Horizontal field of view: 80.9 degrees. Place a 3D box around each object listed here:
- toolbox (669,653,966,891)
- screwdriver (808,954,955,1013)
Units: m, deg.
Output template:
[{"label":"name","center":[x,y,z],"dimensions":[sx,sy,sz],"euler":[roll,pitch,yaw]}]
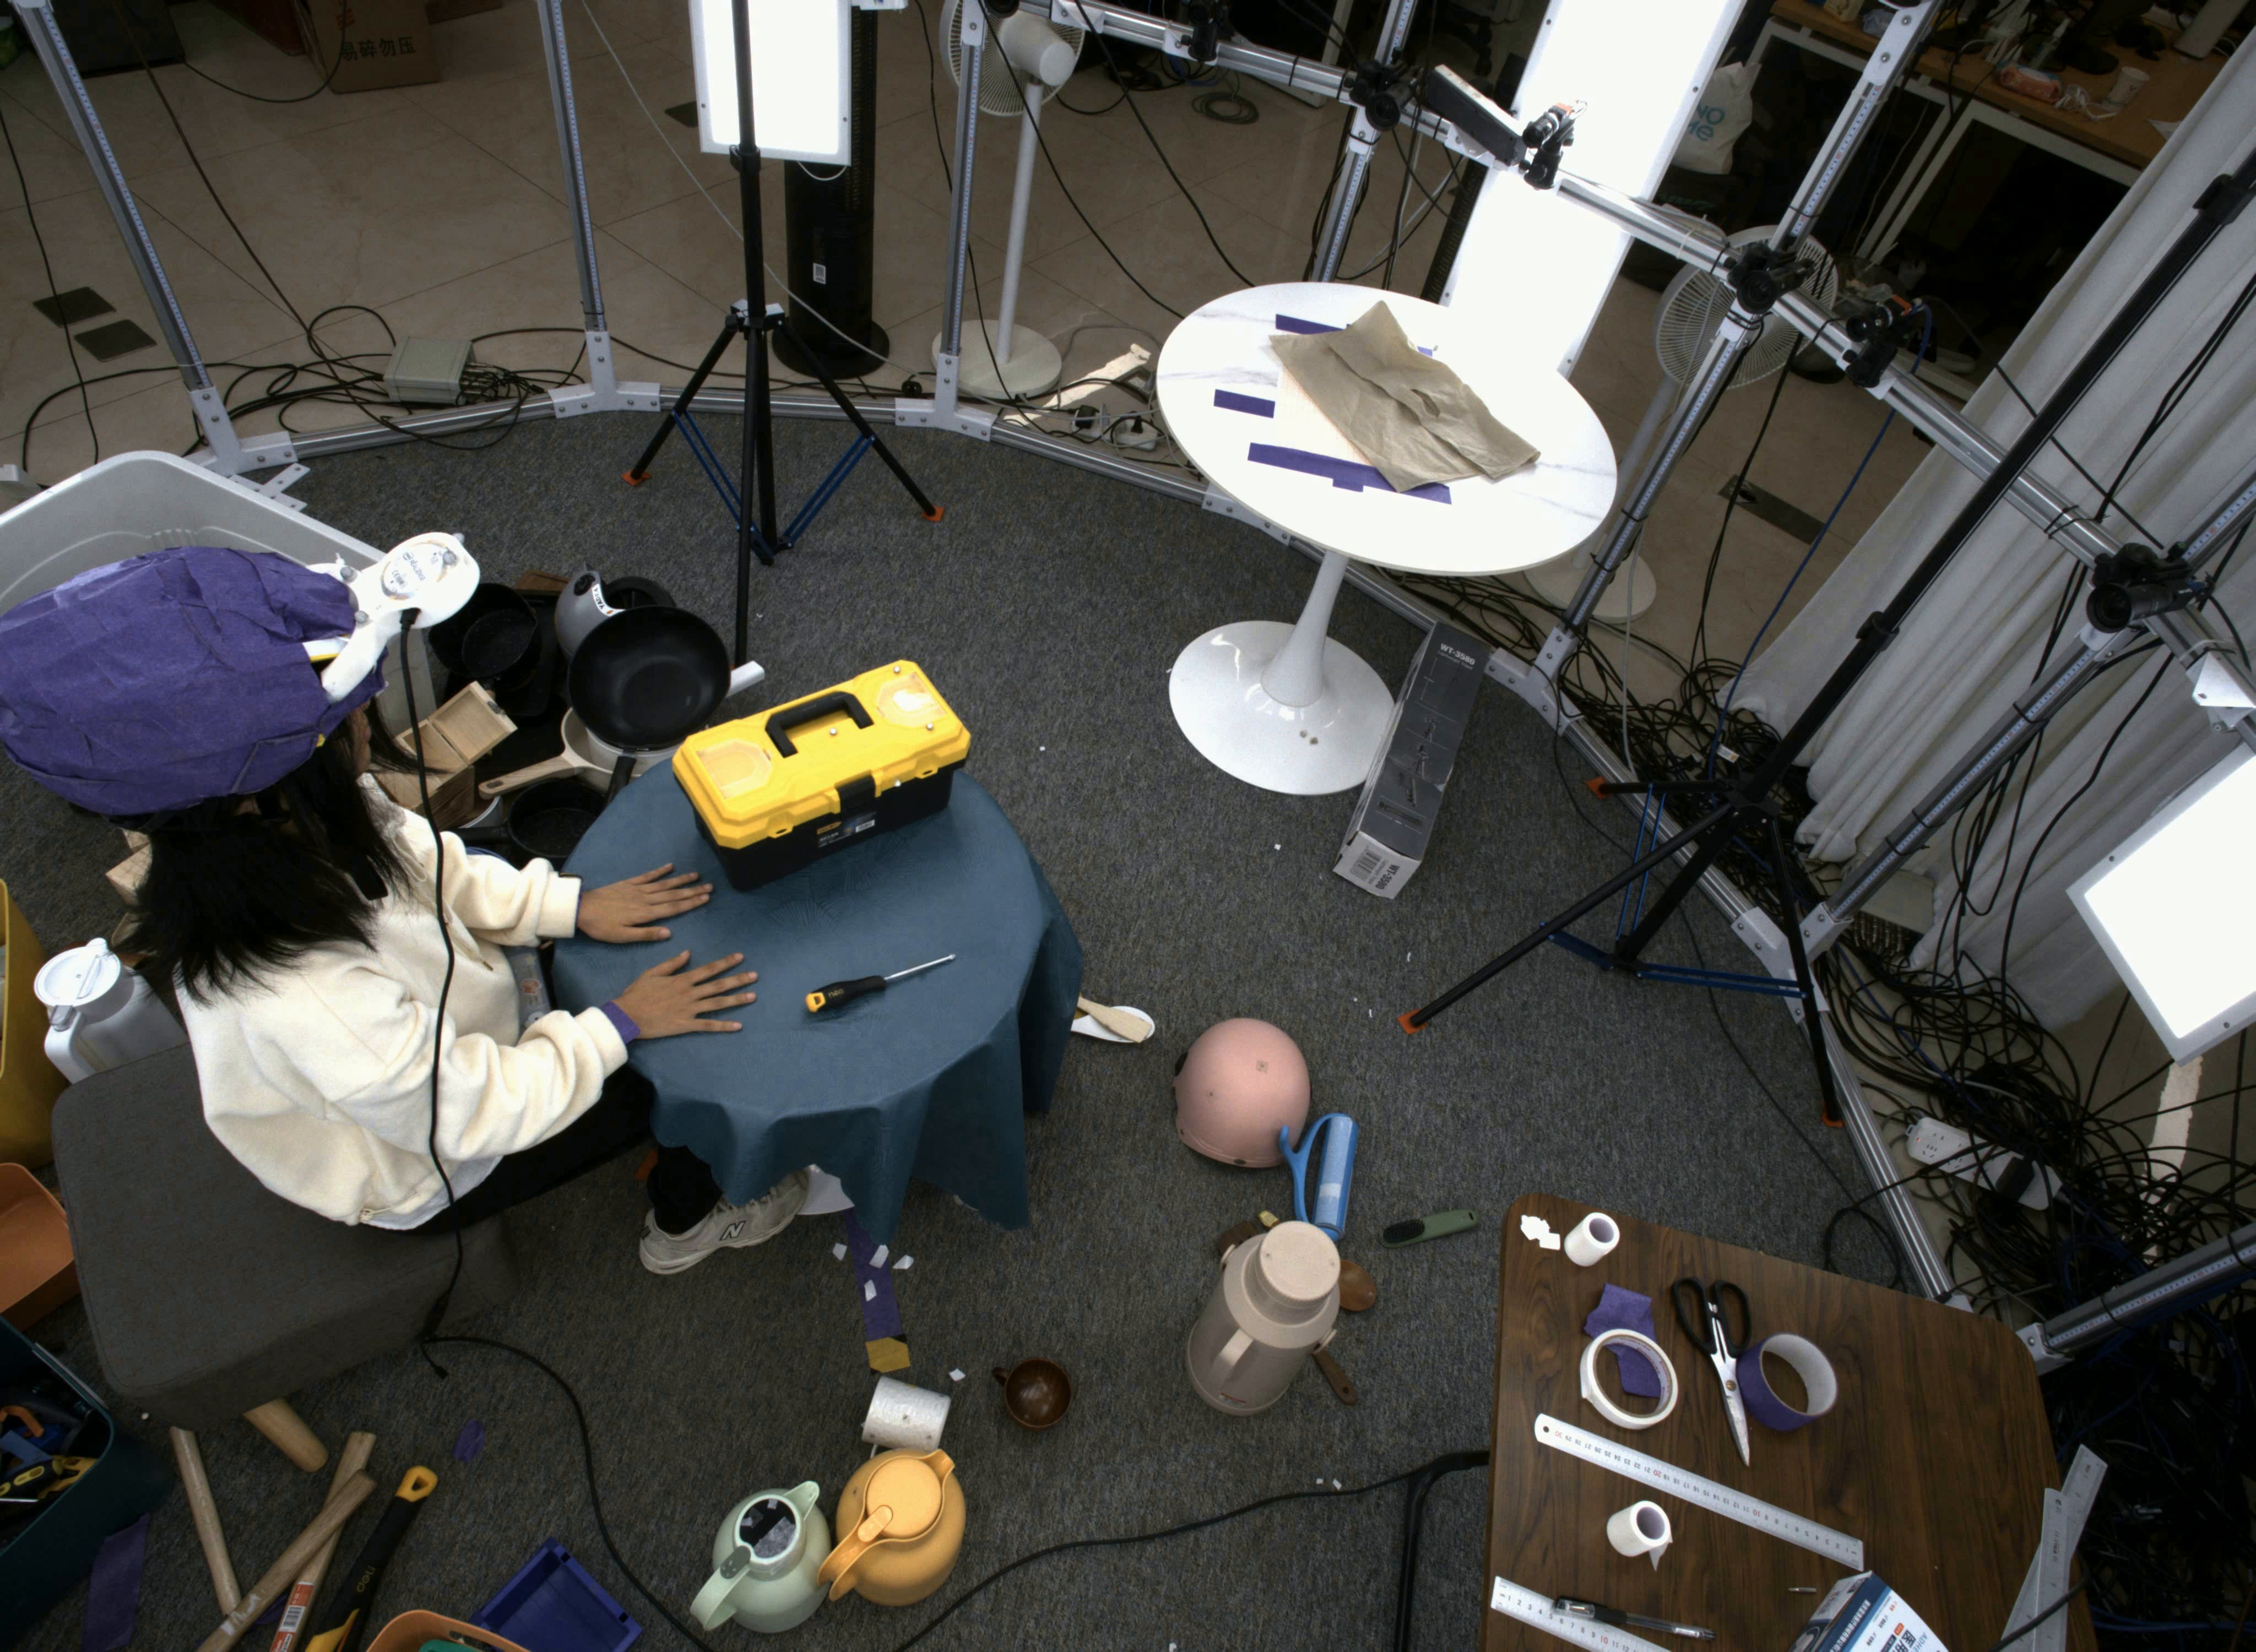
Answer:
[{"label":"toolbox","center":[-0.392,-0.068,1.666],"dimensions":[0.353,0.176,0.177],"euler":[-25,62,-29]},{"label":"screwdriver","center":[-0.297,0.187,1.594],"dimensions":[0.197,0.032,0.030],"euler":[-17,58,-28]}]
